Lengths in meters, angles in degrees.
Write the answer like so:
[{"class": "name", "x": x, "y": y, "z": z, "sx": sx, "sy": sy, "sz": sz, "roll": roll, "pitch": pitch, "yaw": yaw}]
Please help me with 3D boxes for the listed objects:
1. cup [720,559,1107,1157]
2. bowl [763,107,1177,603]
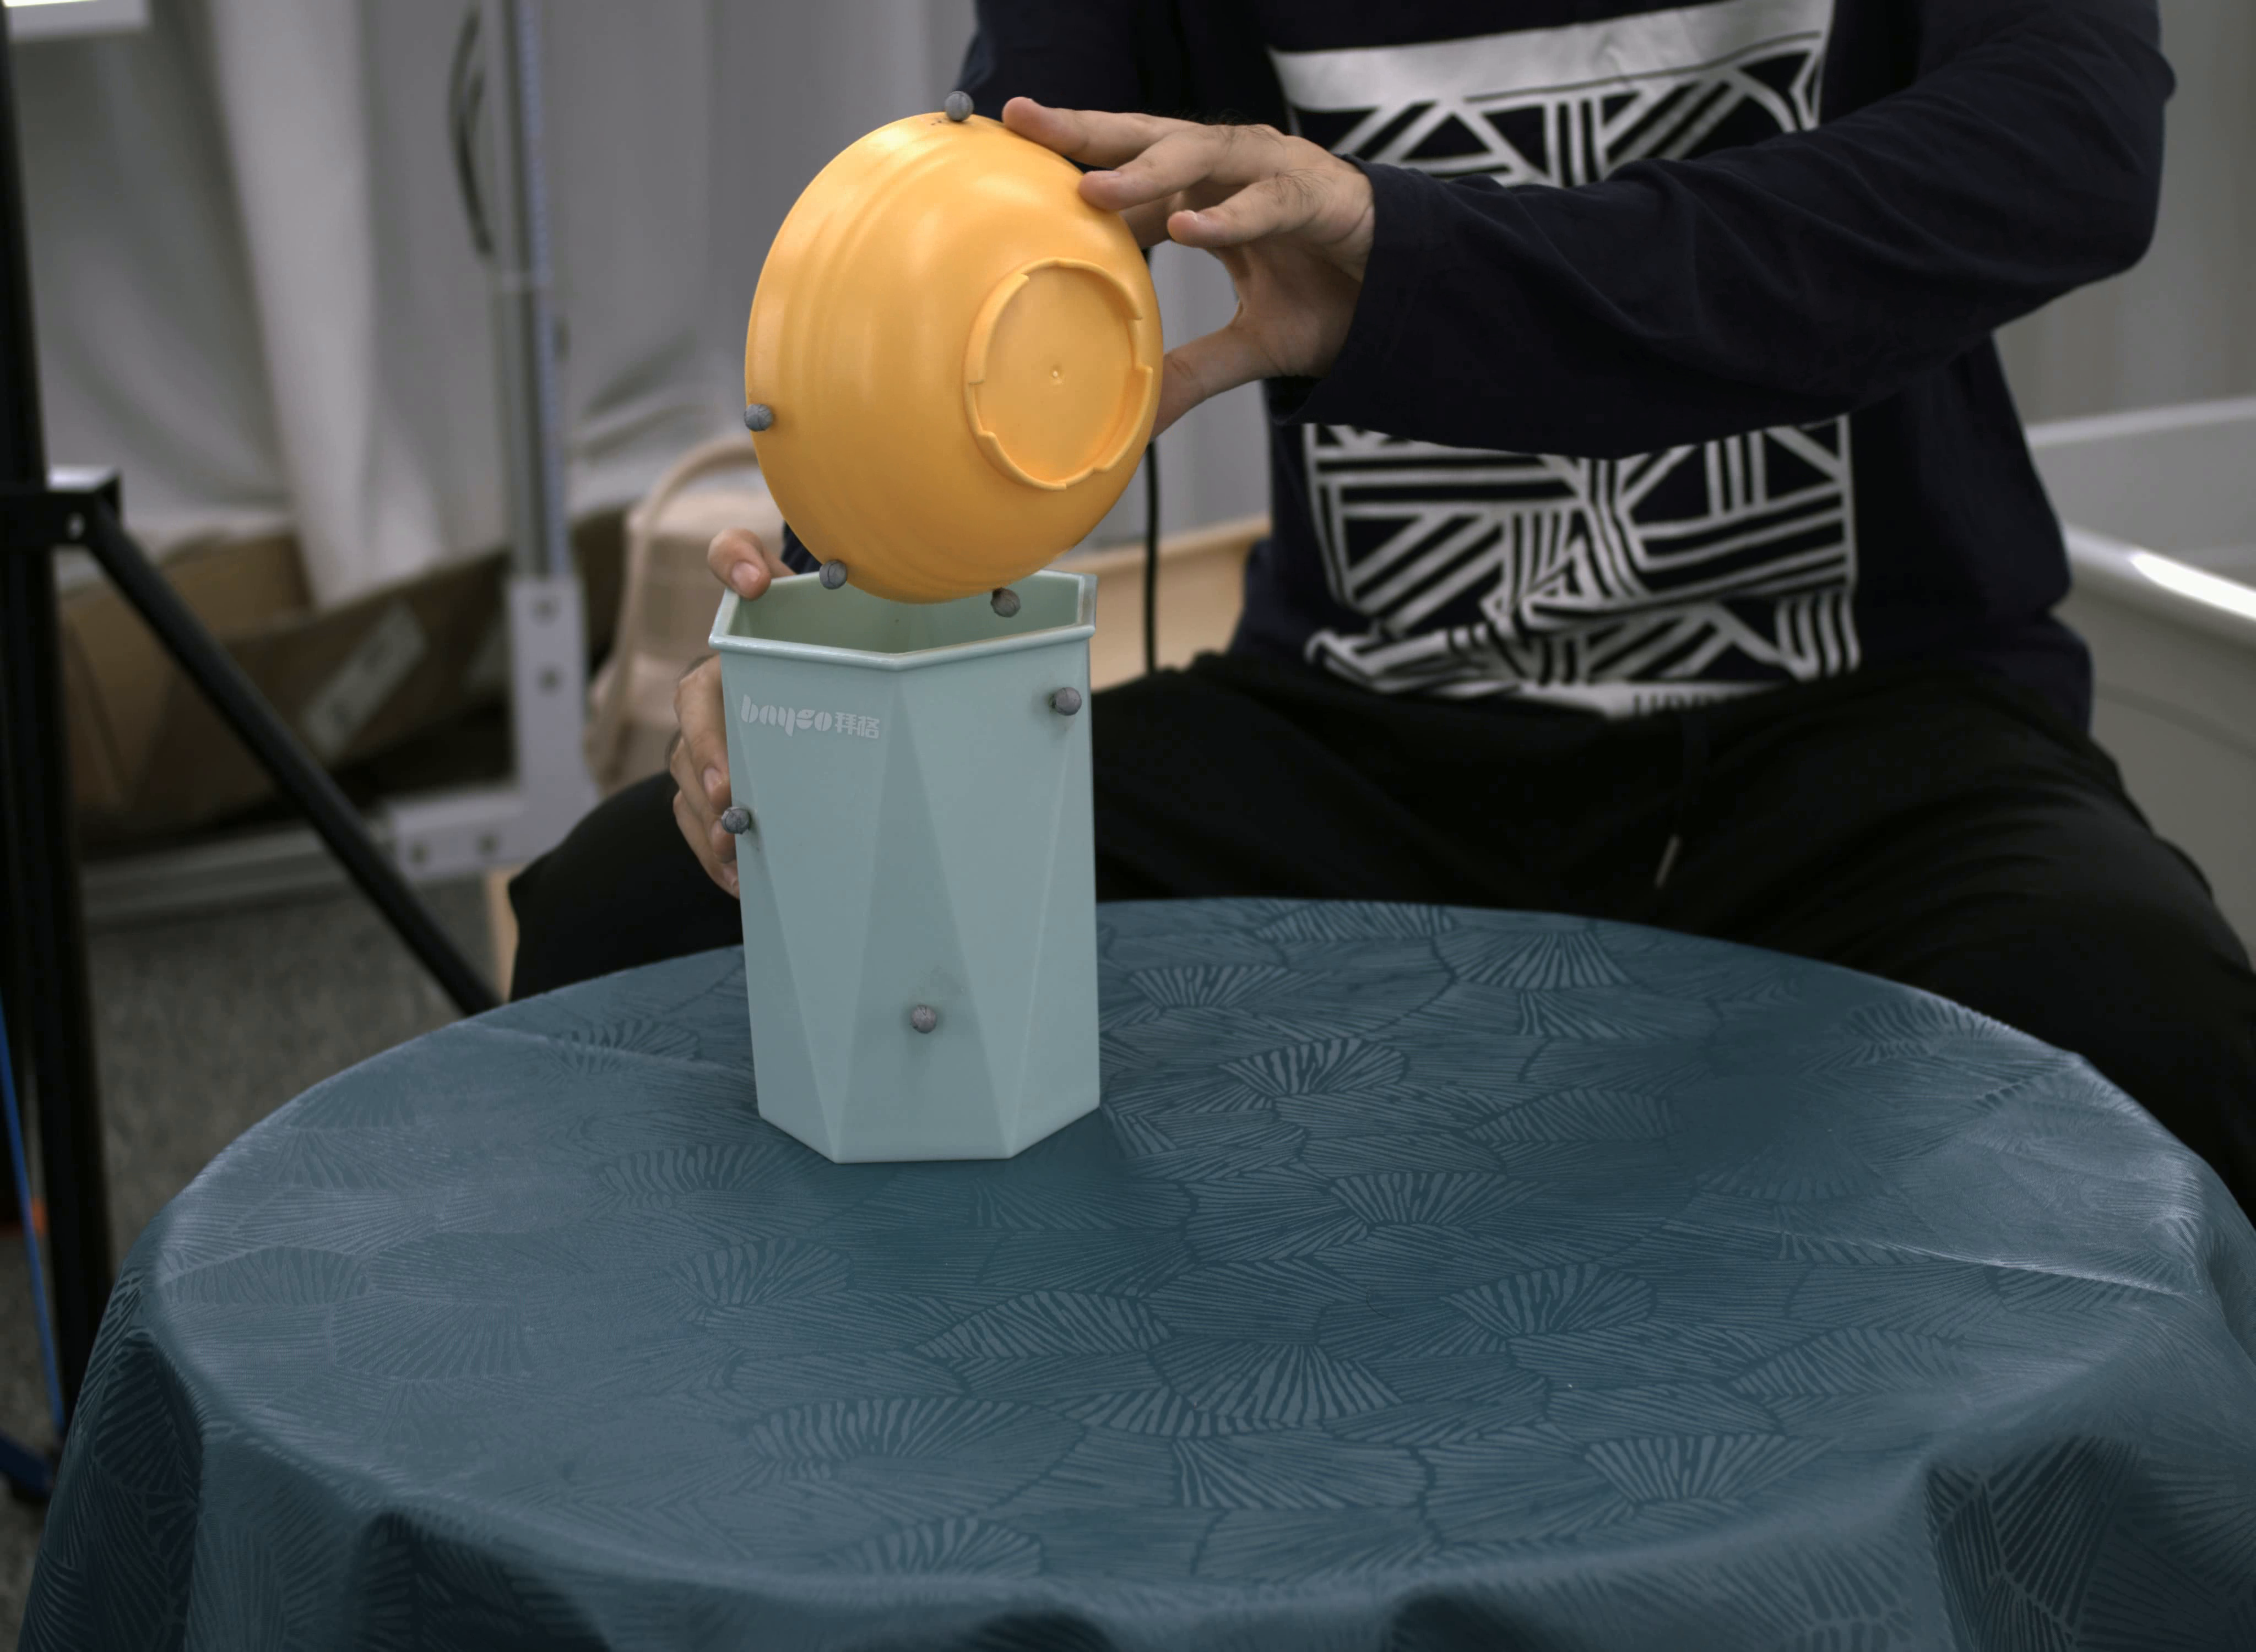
[{"class": "cup", "x": -0.063, "y": 0.009, "z": 1.617, "sx": 0.133, "sy": 0.163, "sz": 0.113, "roll": 8, "pitch": 17, "yaw": 29}, {"class": "bowl", "x": -0.032, "y": -0.132, "z": 1.545, "sx": 0.142, "sy": 0.145, "sz": 0.061, "roll": -15, "pitch": 20, "yaw": -38}]
